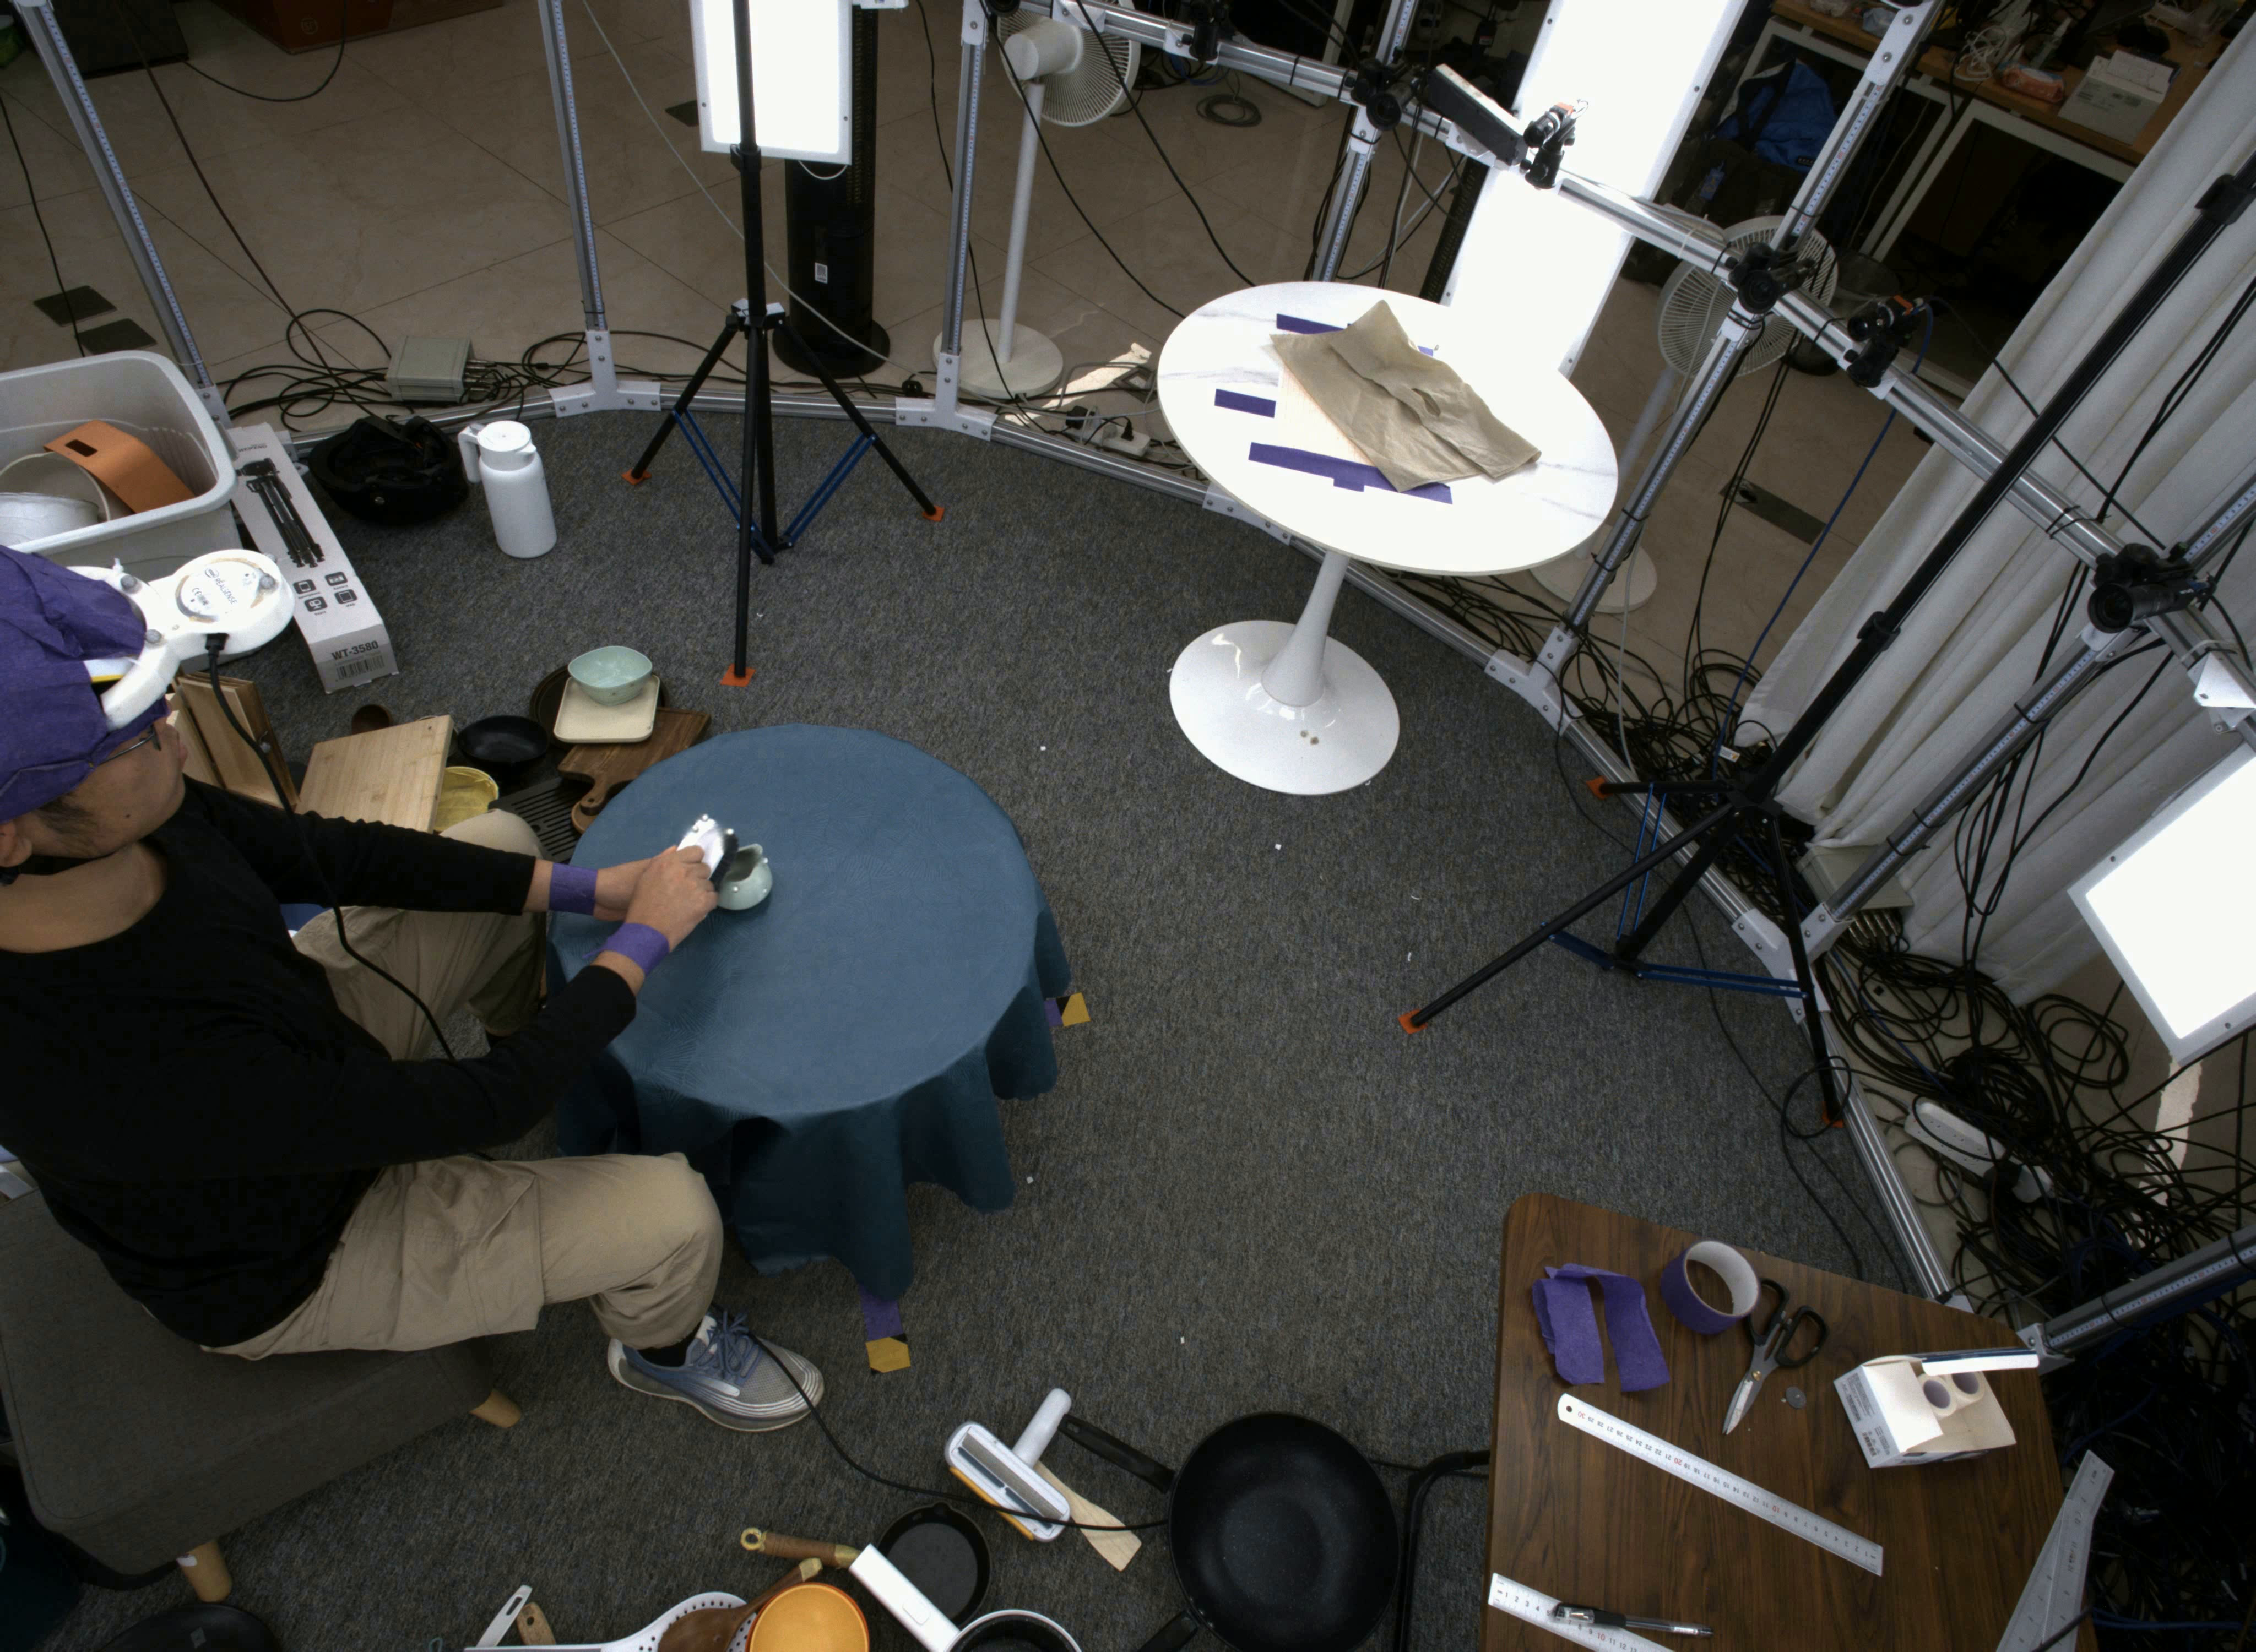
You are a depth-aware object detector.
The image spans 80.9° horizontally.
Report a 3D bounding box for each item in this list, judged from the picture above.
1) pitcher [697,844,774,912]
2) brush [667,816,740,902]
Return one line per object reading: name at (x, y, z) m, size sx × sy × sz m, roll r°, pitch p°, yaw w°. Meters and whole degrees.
pitcher at (-0.497, 0.070, 1.622) m, size 0.084 × 0.062 × 0.108 m, roll 33°, pitch 56°, yaw 13°
brush at (-0.515, 0.033, 1.540) m, size 0.049 × 0.074 × 0.099 m, roll 26°, pitch 75°, yaw 16°
